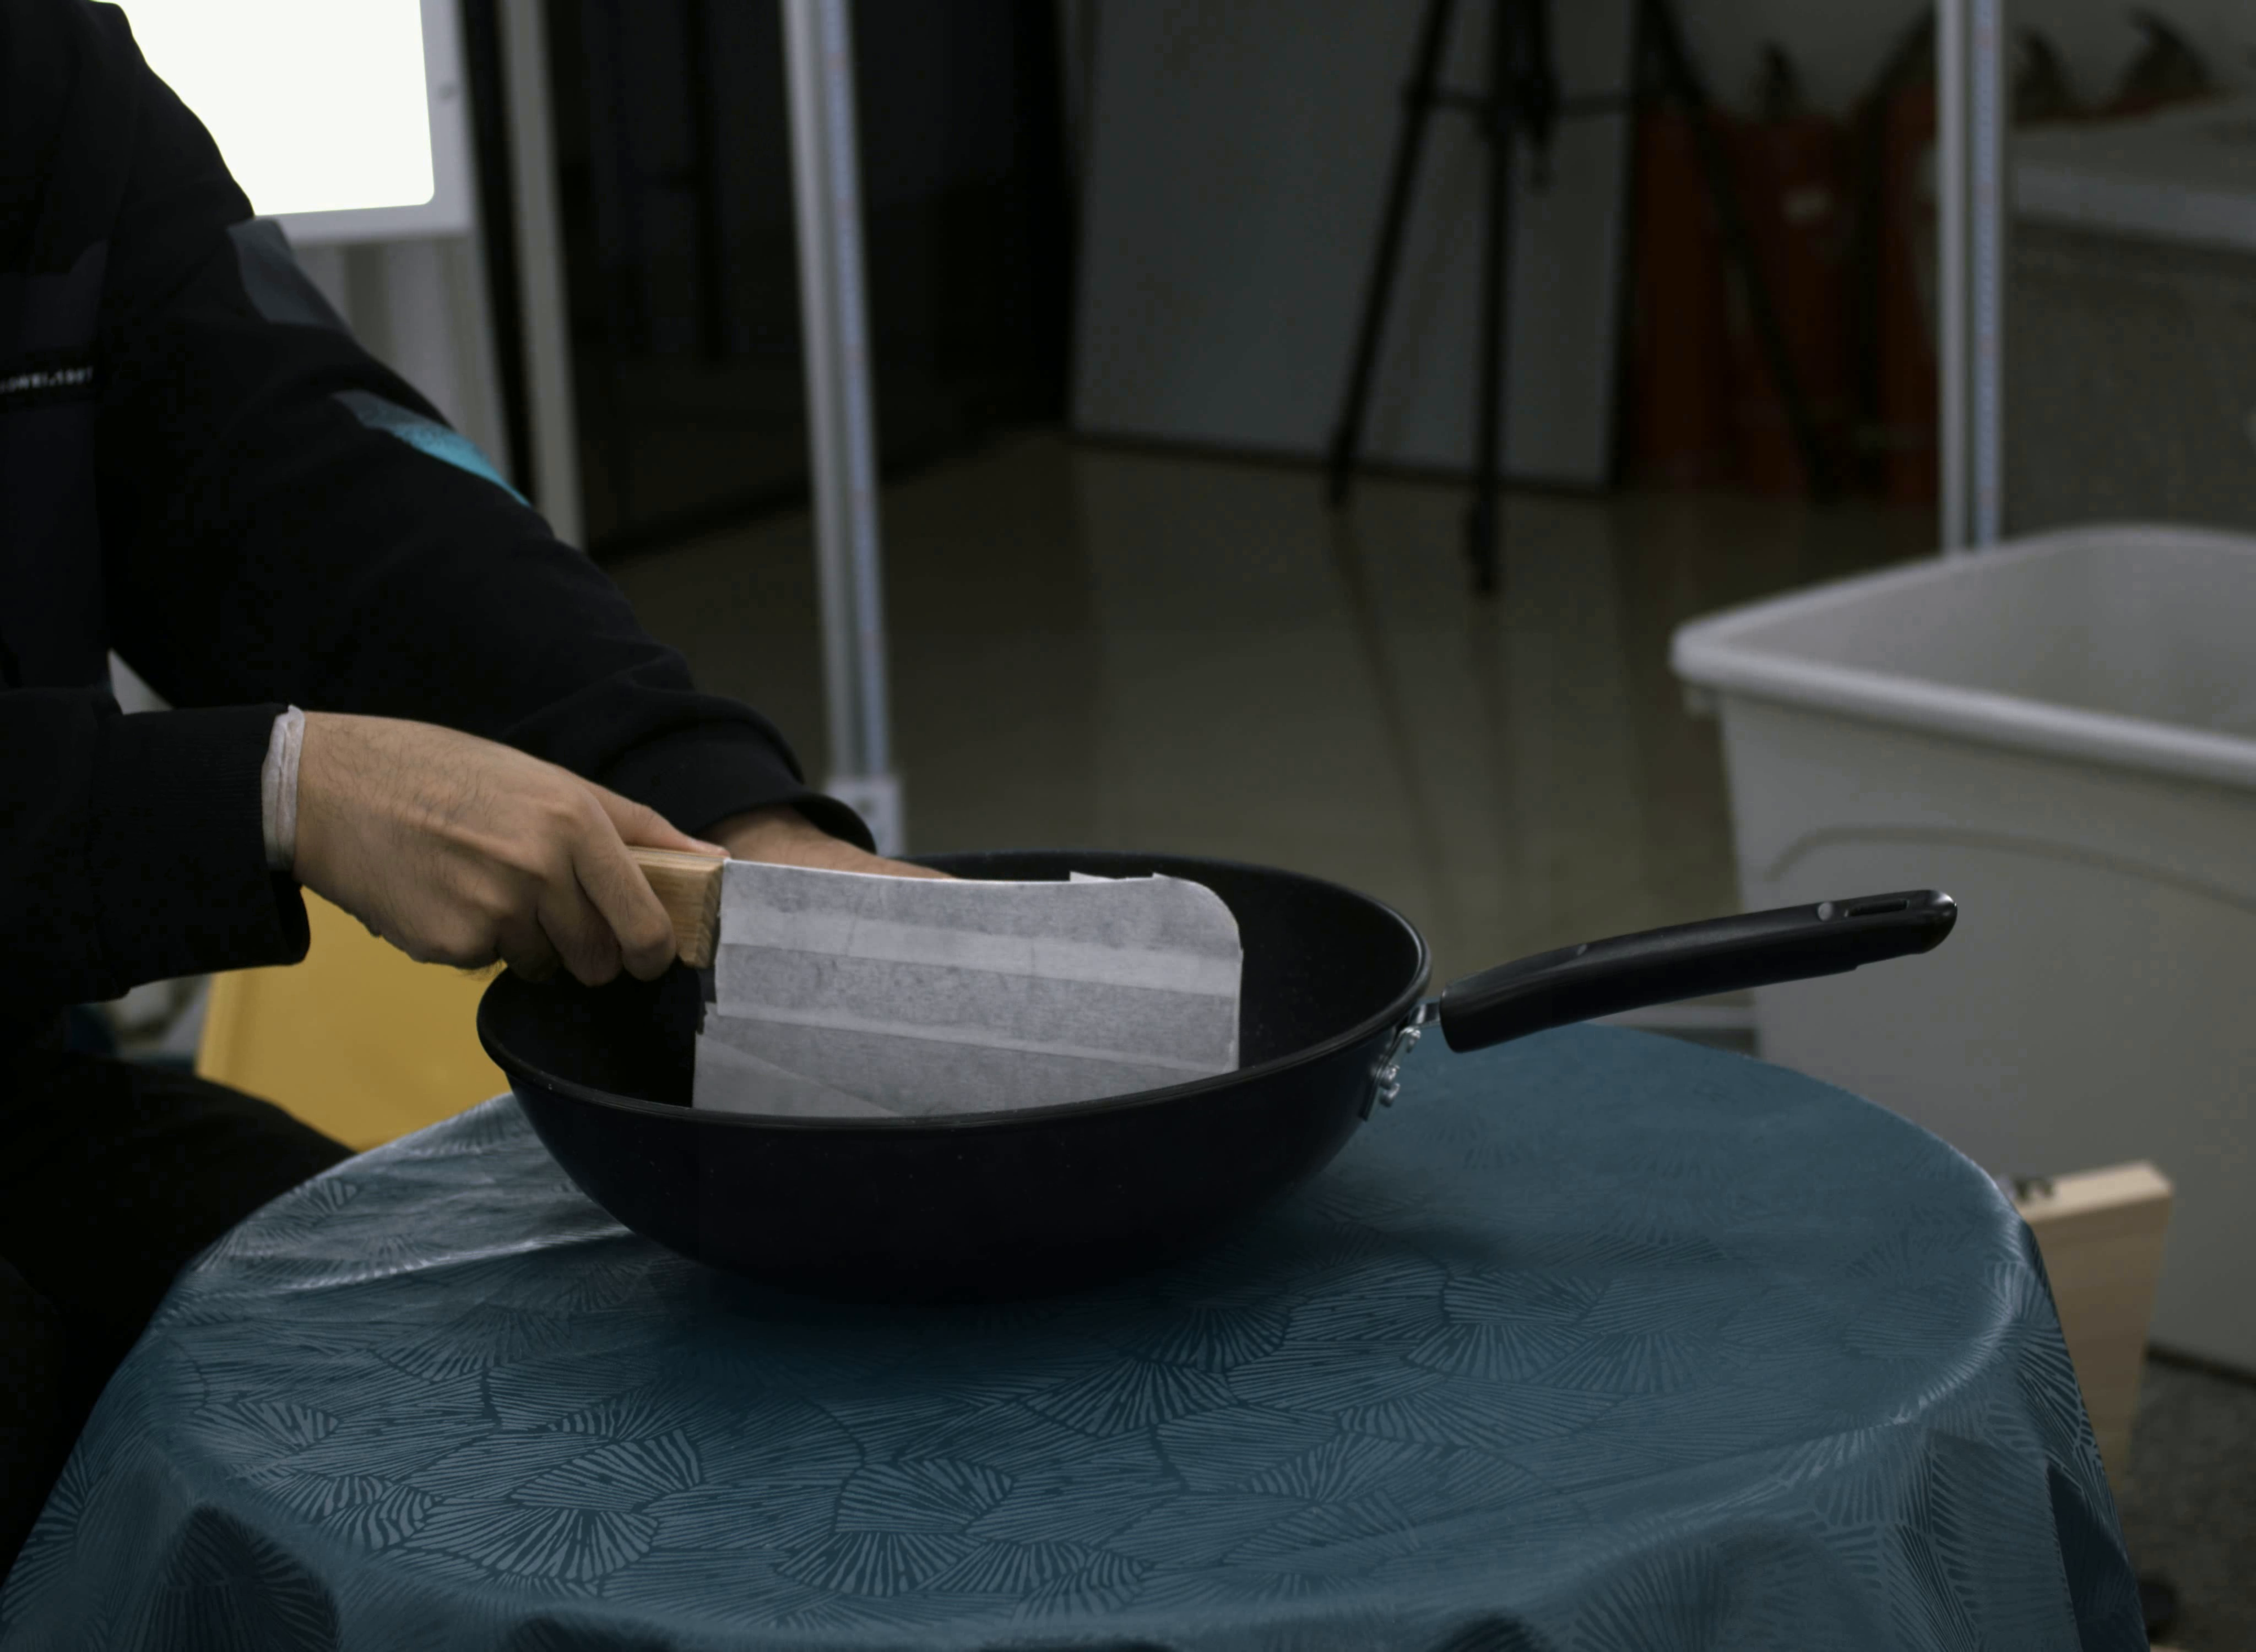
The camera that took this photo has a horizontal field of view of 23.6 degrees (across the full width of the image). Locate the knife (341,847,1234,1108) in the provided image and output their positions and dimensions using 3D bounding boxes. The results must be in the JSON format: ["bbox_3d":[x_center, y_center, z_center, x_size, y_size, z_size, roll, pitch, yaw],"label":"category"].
[{"bbox_3d":[-0.108,0.045,1.739,0.314,0.115,0.021,10,11,15],"label":"knife"}]

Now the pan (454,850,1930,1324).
[{"bbox_3d":[0.020,0.078,1.716,0.474,0.113,0.308,-1,16,15],"label":"pan"}]
